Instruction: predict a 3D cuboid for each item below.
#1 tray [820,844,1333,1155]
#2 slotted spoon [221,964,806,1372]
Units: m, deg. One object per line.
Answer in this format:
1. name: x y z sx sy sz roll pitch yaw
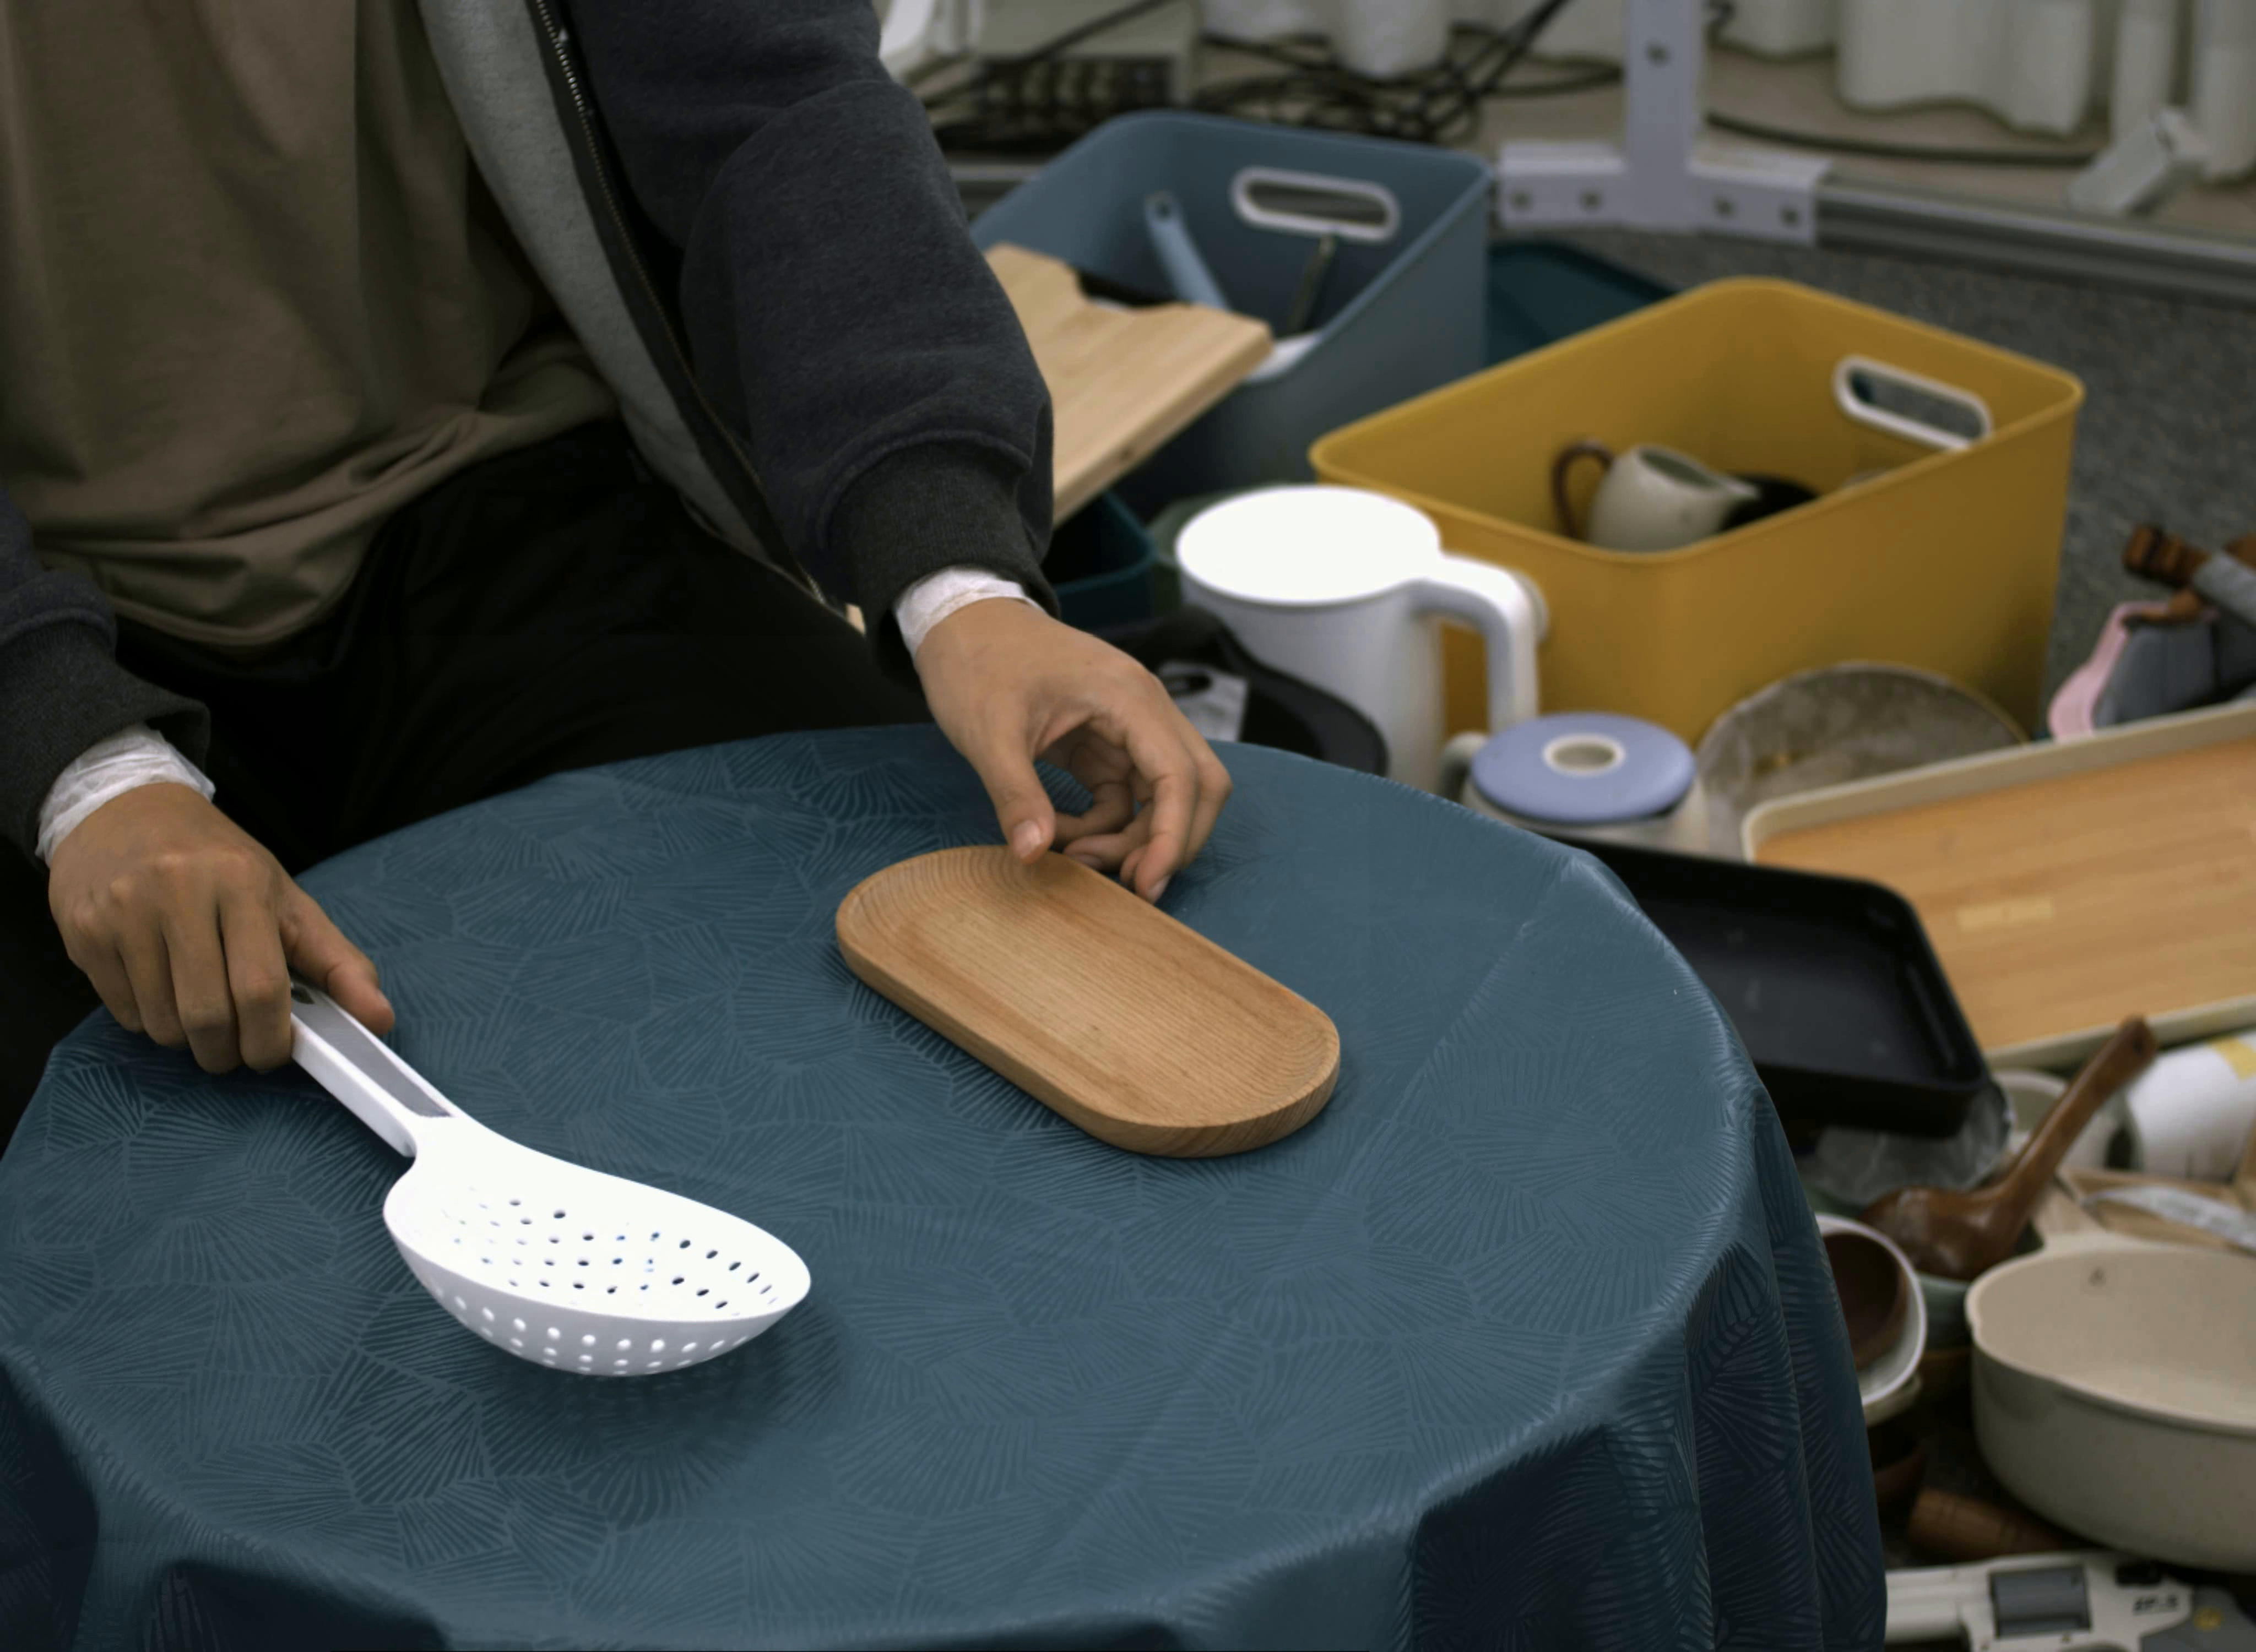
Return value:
1. tray: -0.020 0.059 1.966 0.102 0.020 0.231 -20 31 -32
2. slotted spoon: -0.224 0.106 1.856 0.136 0.045 0.351 6 18 -34
